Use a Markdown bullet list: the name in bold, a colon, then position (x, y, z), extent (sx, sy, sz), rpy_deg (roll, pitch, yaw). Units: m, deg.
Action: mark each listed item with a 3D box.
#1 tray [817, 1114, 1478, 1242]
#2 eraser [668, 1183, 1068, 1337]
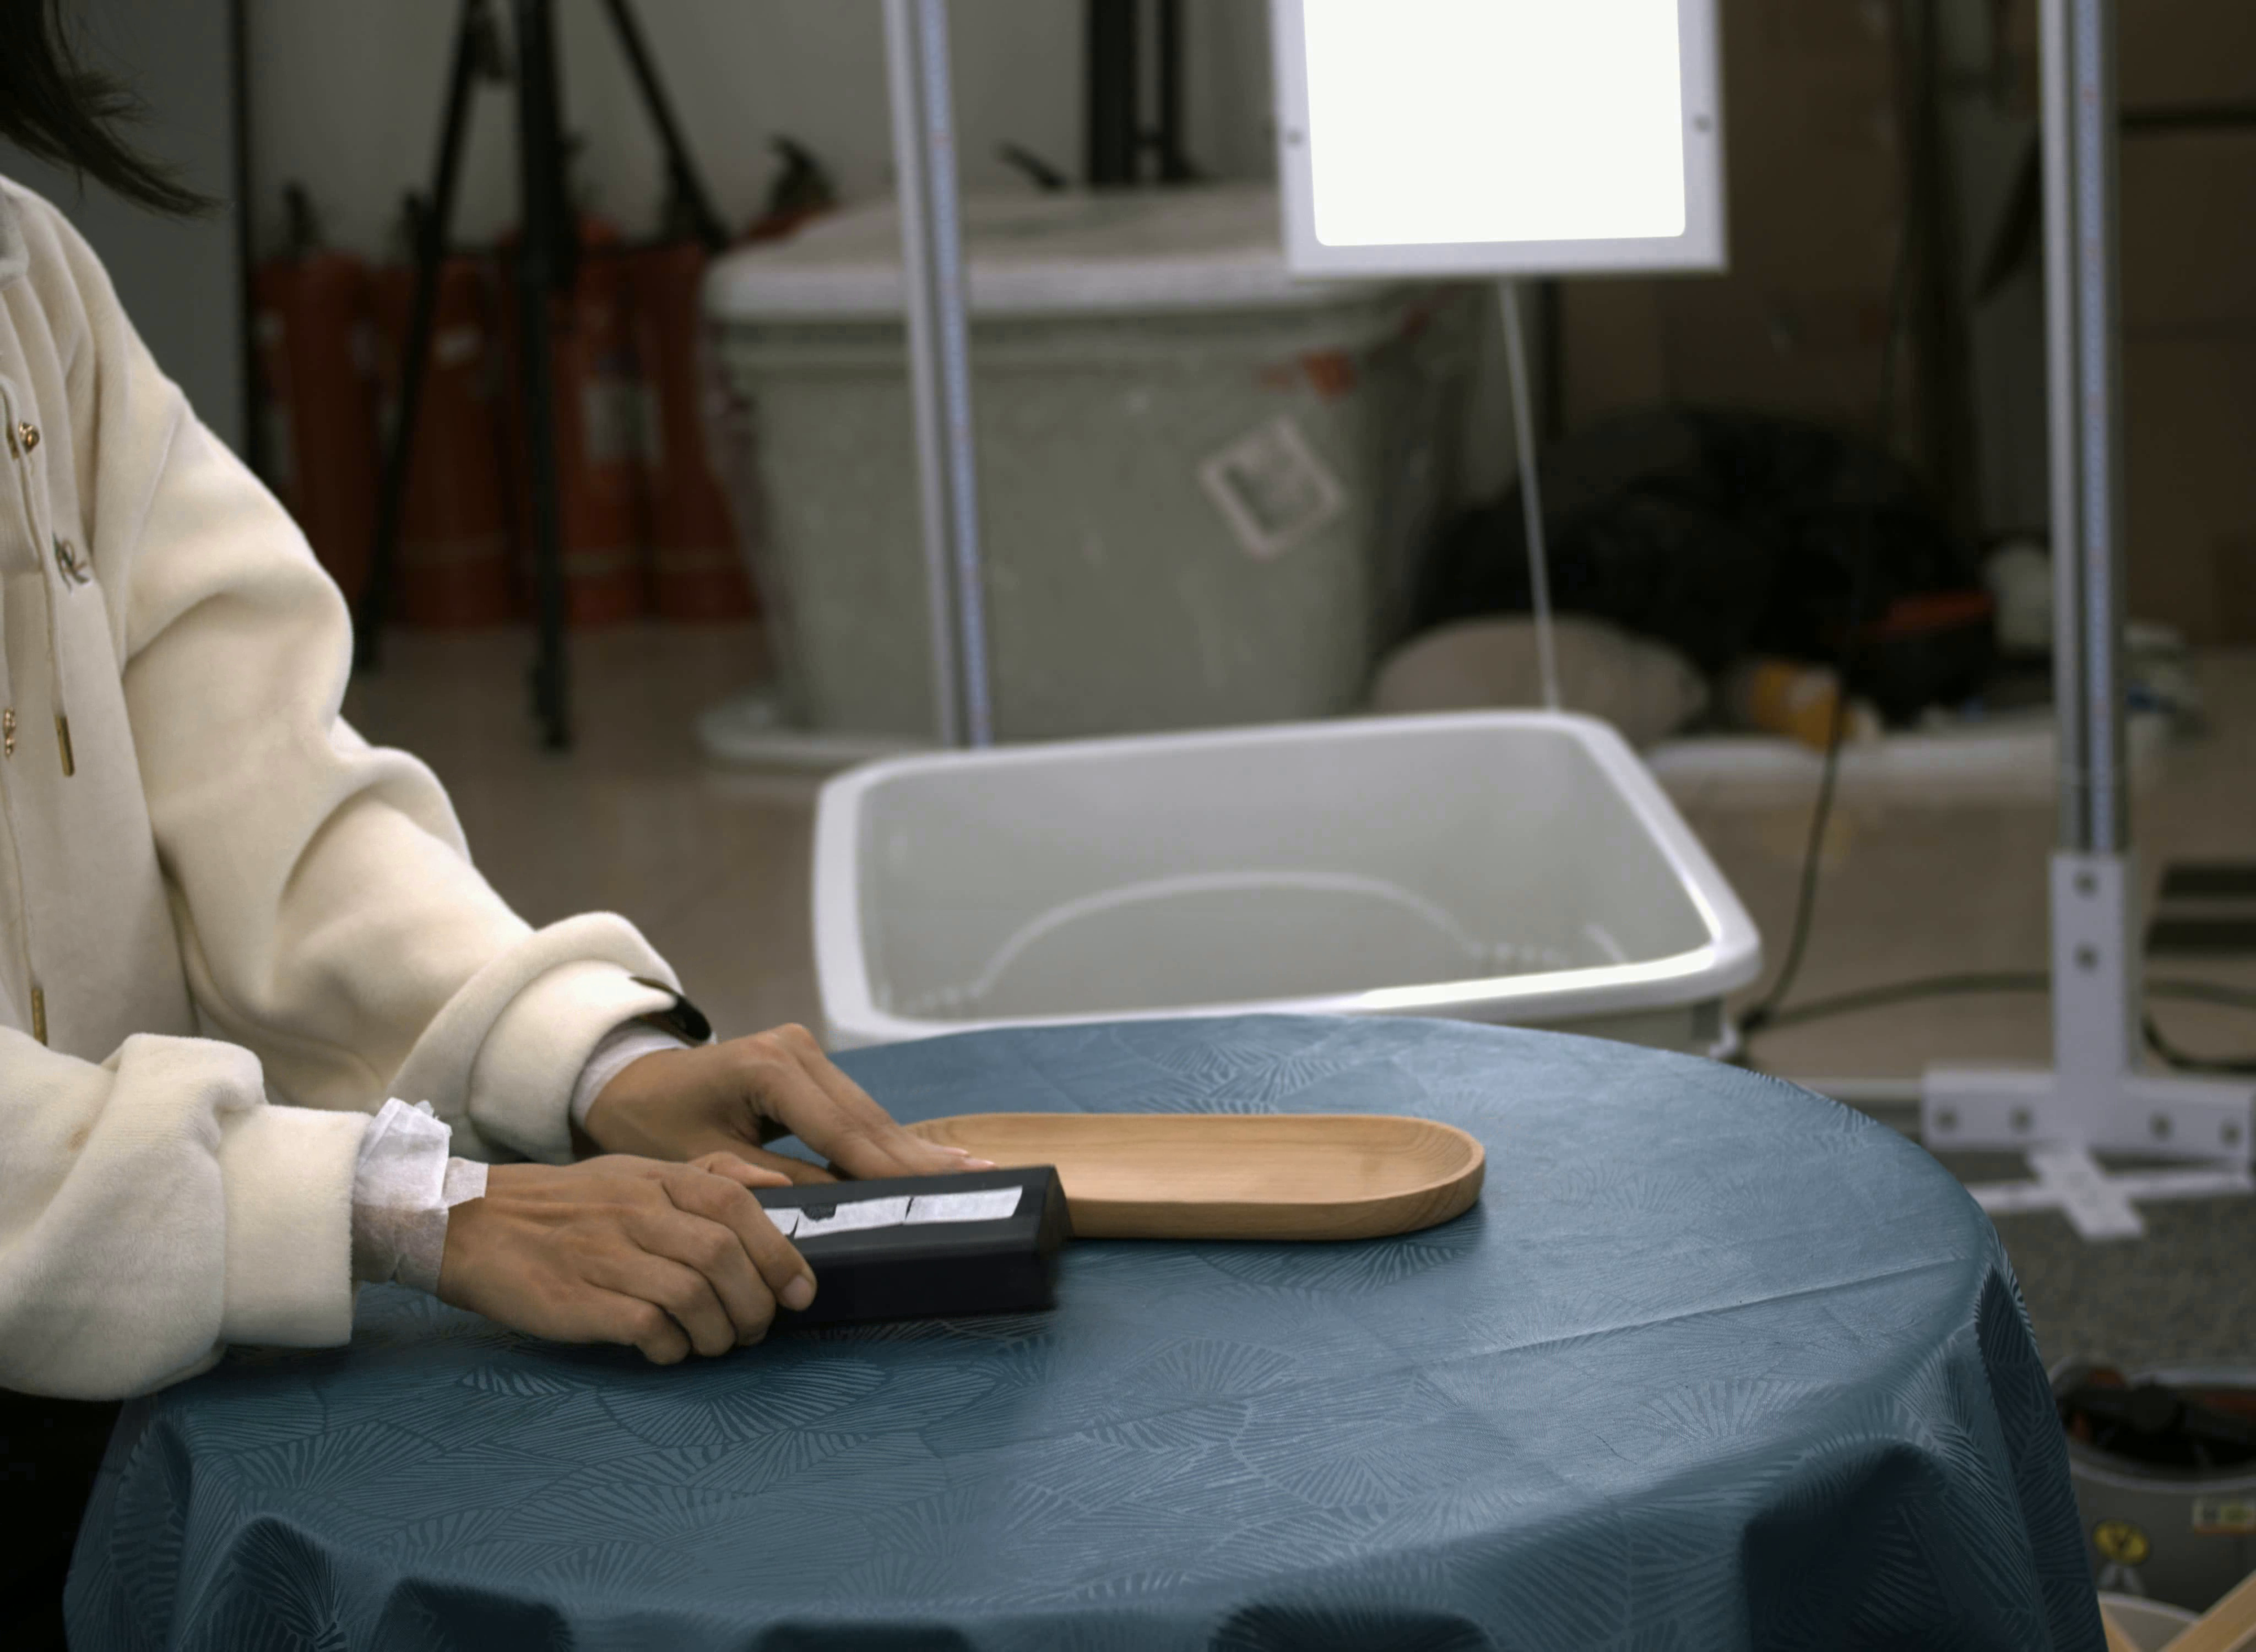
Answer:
- **tray**: position (0.006, 0.121, 1.885), extent (0.234, 0.020, 0.100), rpy_deg (-3, 13, 17)
- **eraser**: position (-0.082, 0.140, 1.779), extent (0.126, 0.030, 0.053), rpy_deg (-4, 21, 12)
